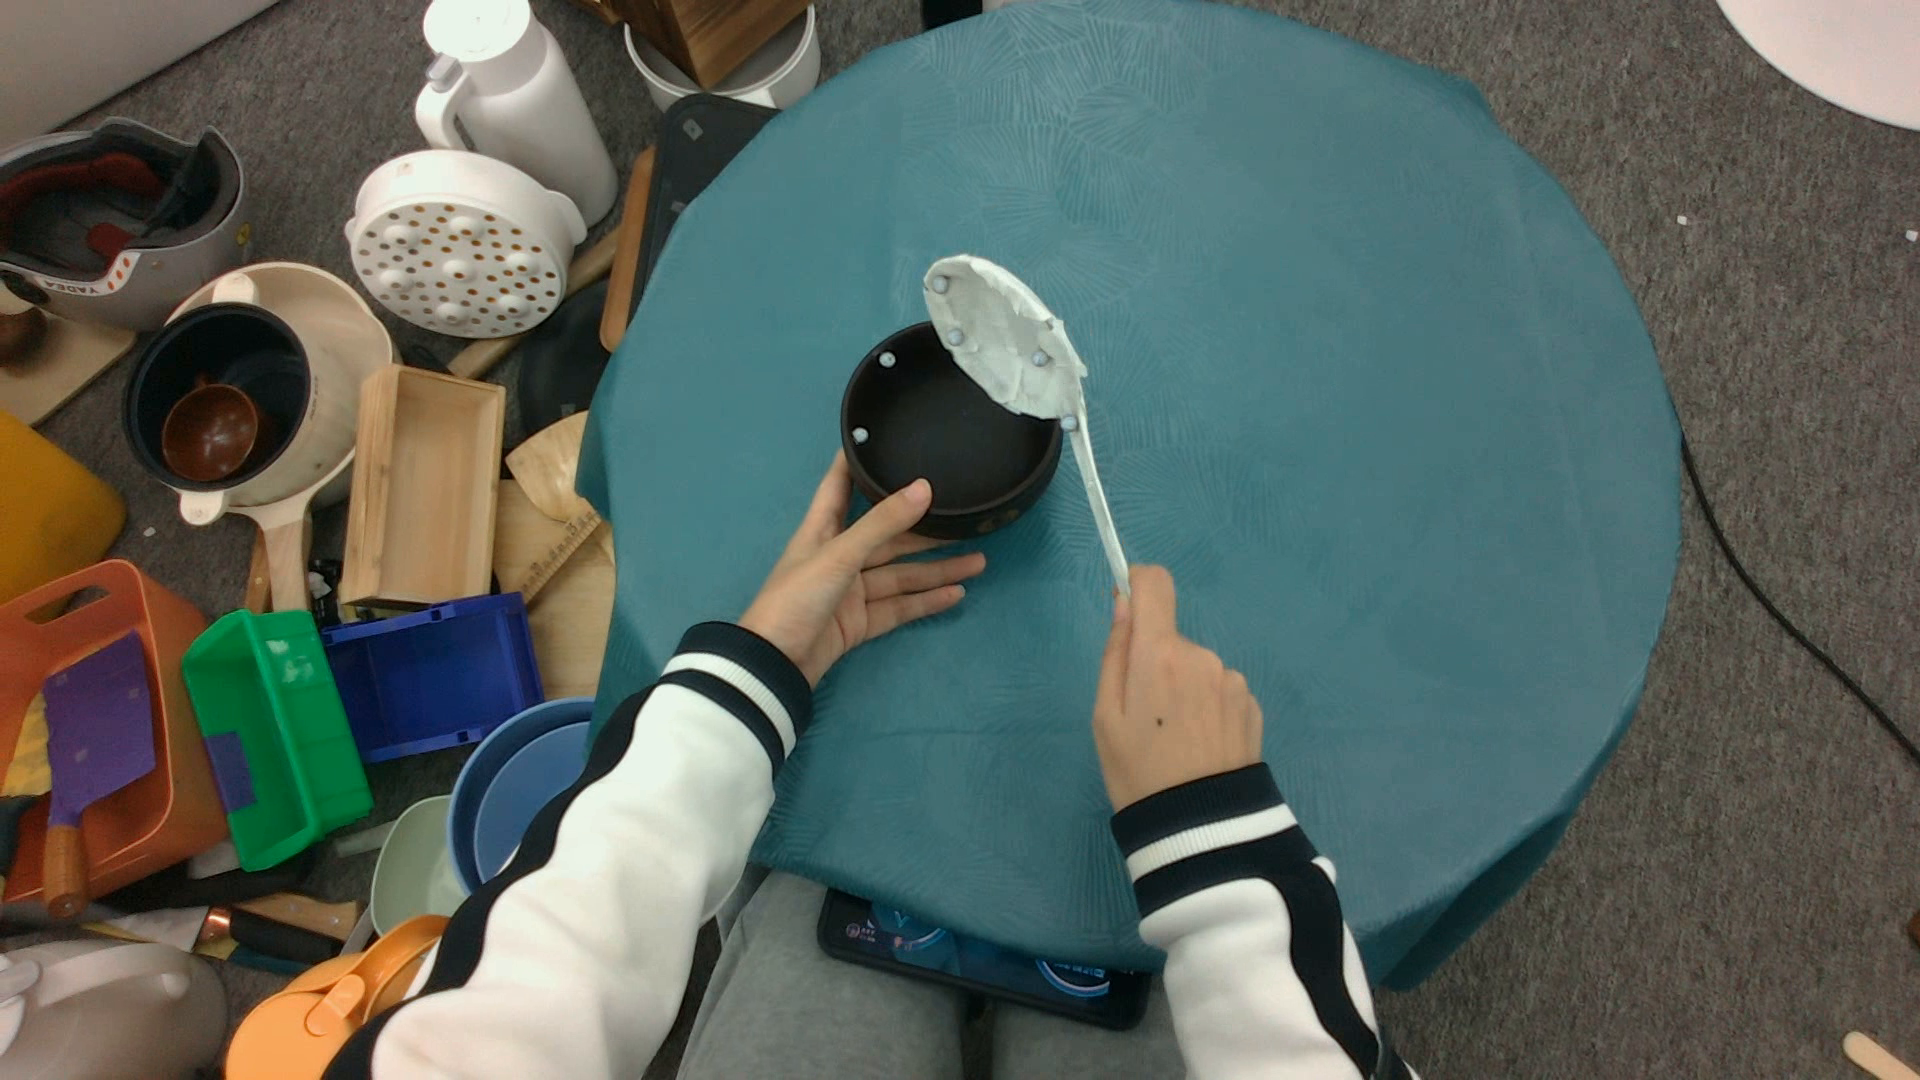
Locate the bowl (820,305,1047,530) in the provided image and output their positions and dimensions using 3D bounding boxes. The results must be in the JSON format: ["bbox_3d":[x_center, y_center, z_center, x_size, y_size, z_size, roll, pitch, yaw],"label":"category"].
[{"bbox_3d":[-0.013,-0.059,0.735,0.118,0.069,0.118,0,69,1],"label":"bowl"}]

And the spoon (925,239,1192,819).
[{"bbox_3d":[0.043,-0.005,0.626,0.059,0.100,0.277,-11,83,-14],"label":"spoon"}]
